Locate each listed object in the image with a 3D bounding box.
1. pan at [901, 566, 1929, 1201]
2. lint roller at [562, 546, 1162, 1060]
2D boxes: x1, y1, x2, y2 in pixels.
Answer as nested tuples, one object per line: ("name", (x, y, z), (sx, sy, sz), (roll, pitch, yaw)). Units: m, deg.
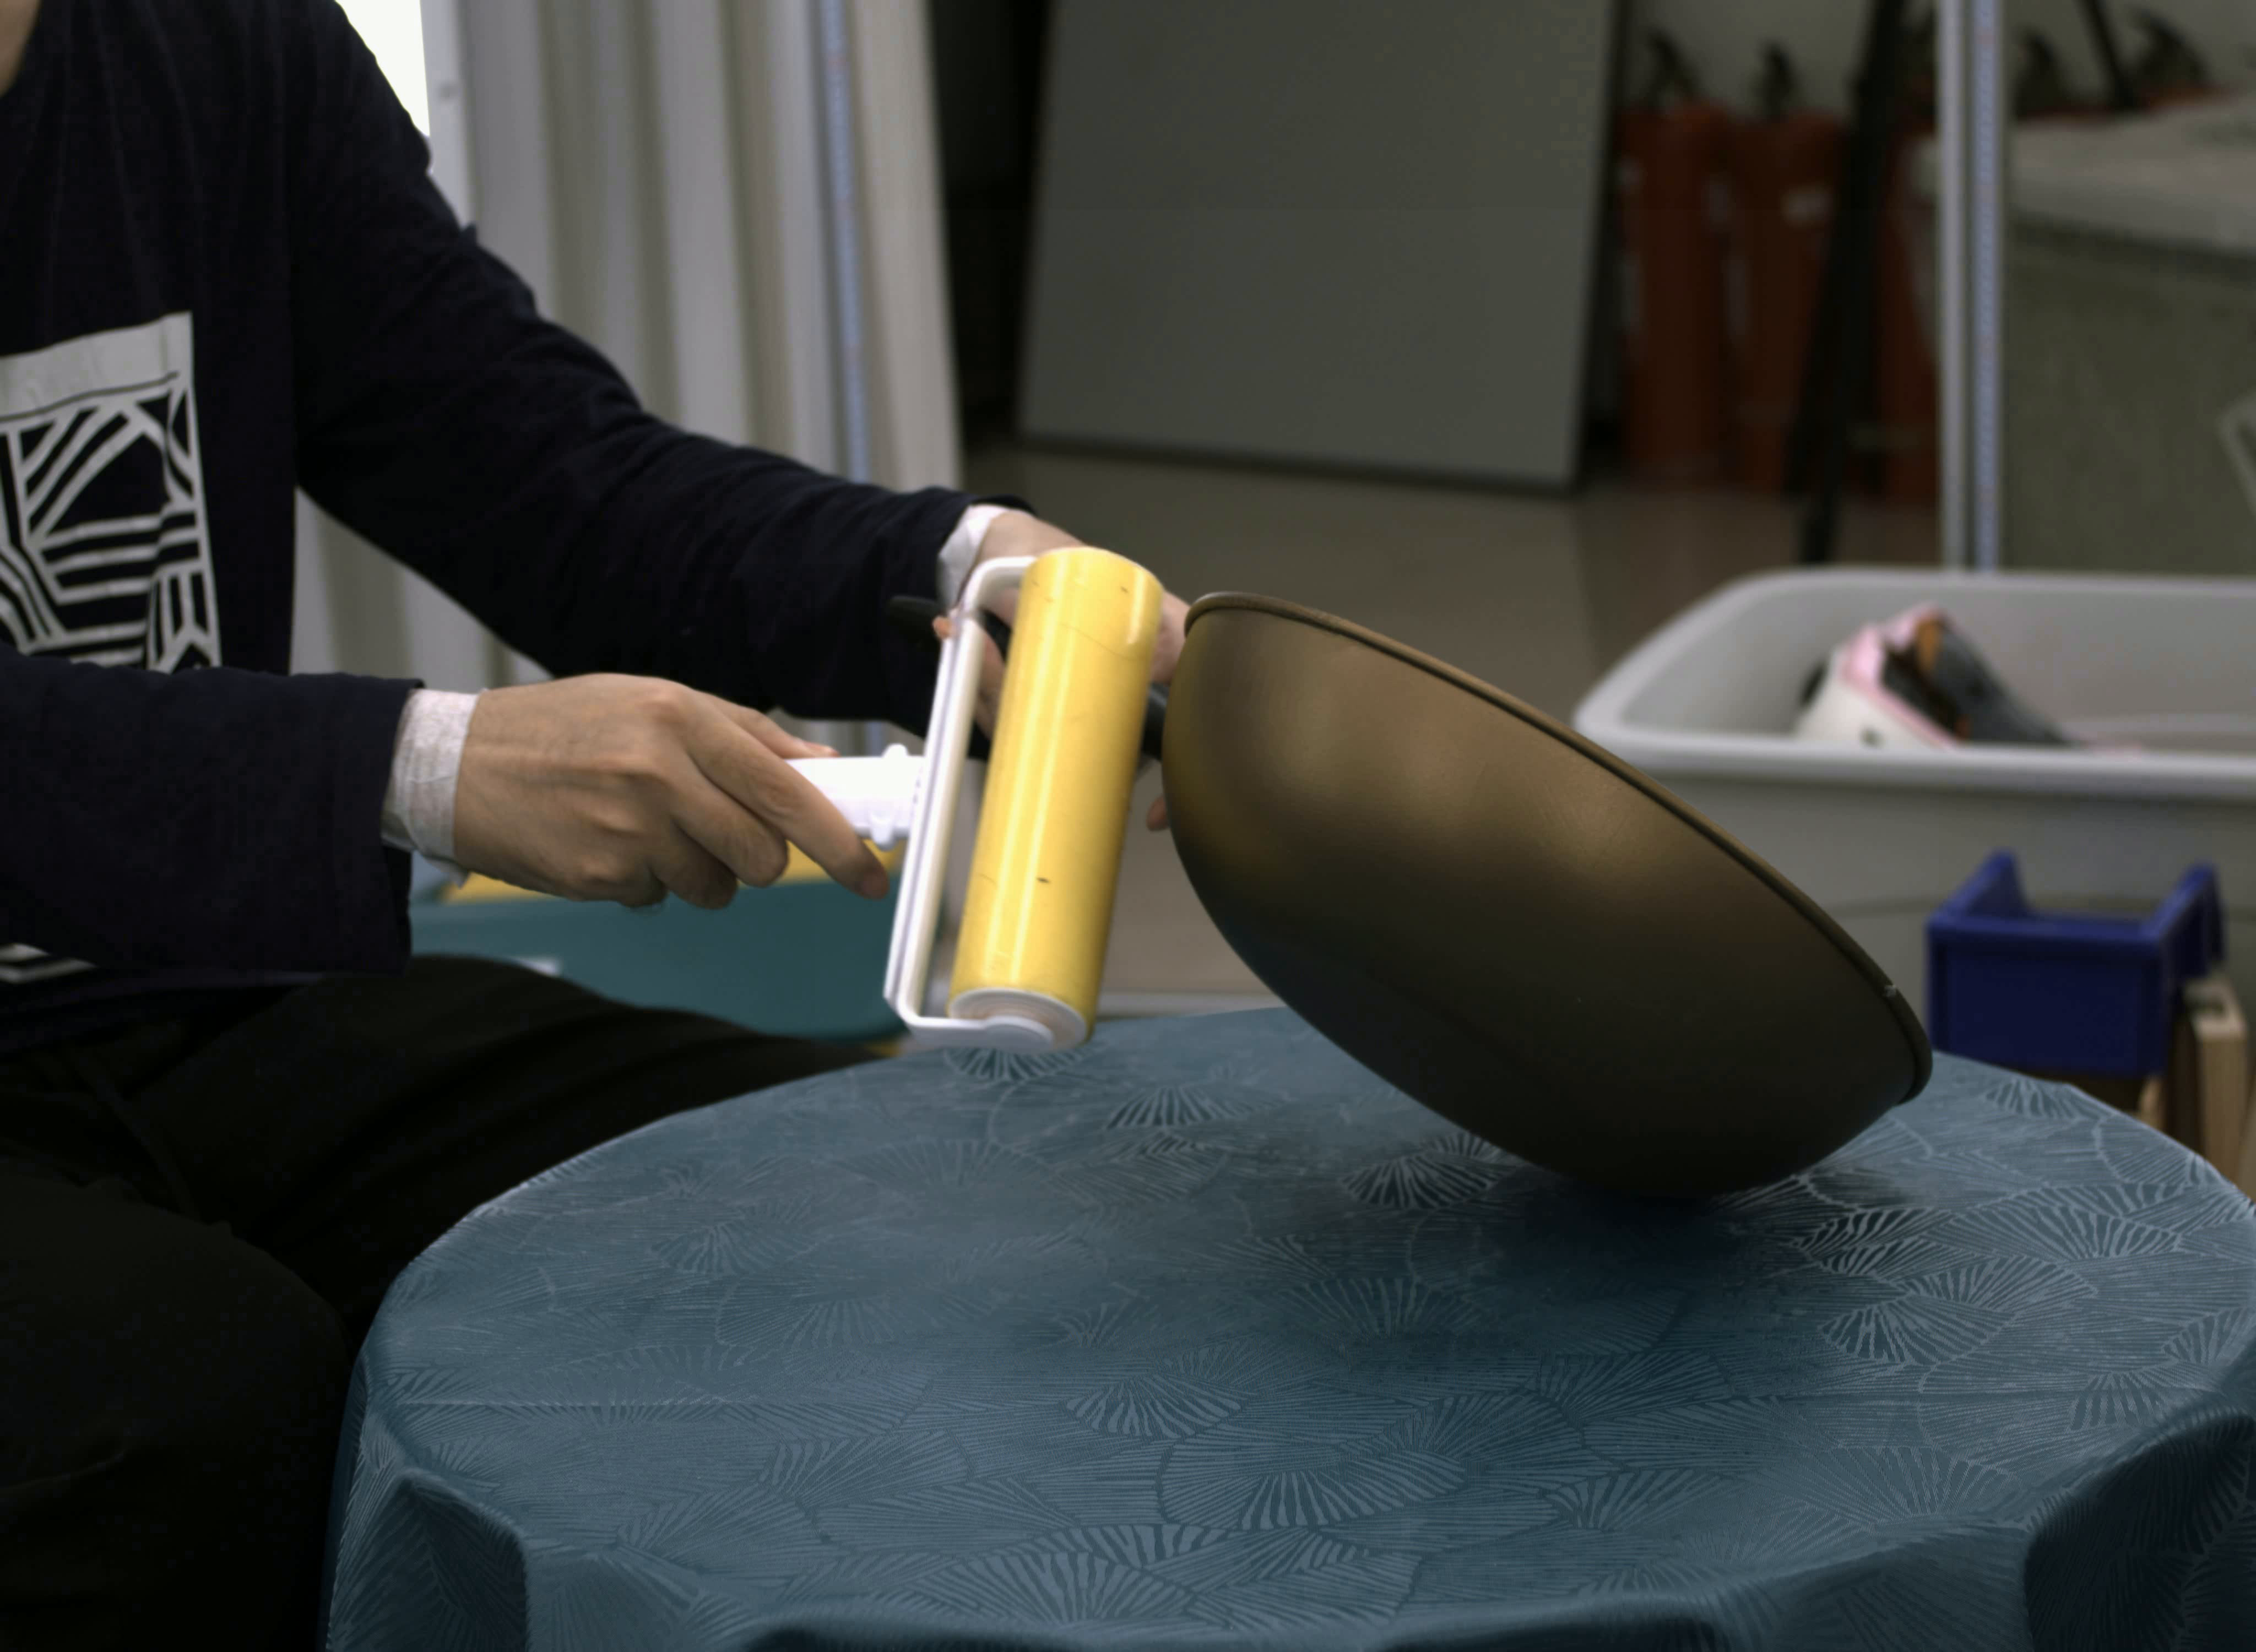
("pan", (0.053, 0.013, 1.759), (0.468, 0.285, 0.087), (21, 71, 46))
("lint roller", (-0.091, -0.011, 1.729), (0.190, 0.176, 0.051), (3, -29, 8))
